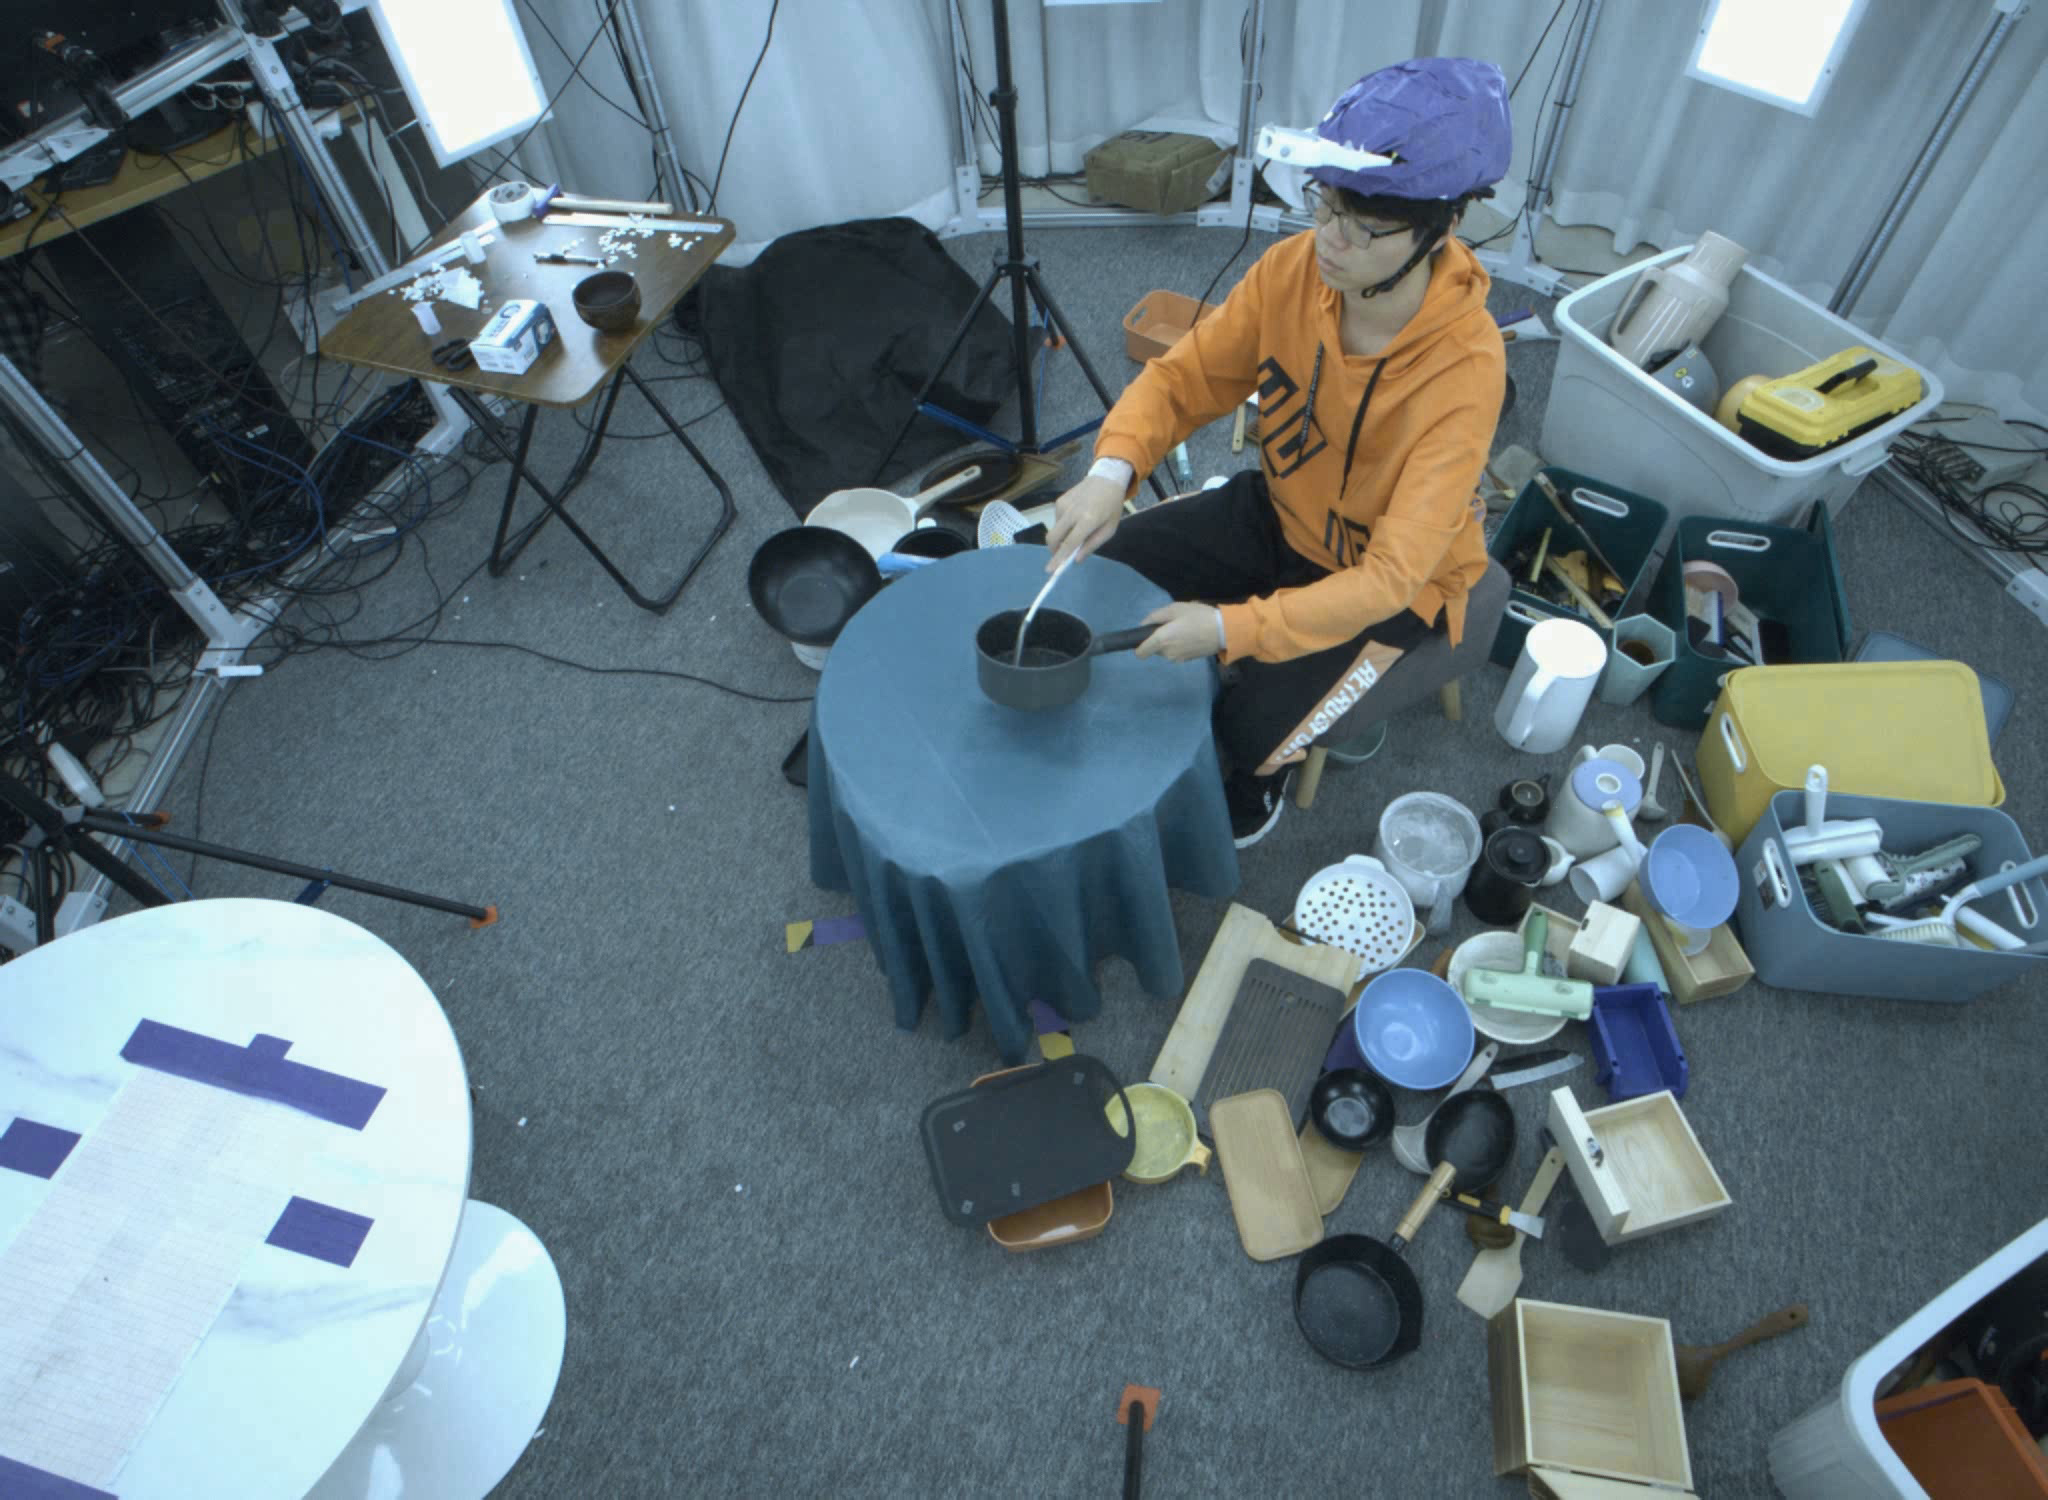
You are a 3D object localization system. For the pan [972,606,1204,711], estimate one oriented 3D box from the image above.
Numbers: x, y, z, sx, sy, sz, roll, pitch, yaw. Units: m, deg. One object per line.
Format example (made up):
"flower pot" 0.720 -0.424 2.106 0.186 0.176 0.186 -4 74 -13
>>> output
"pan" 0.092 -0.137 1.759 0.330 0.087 0.169 -4 39 -4

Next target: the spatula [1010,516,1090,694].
"spatula" 0.027 -0.208 1.752 0.032 0.058 0.287 25 74 -7
